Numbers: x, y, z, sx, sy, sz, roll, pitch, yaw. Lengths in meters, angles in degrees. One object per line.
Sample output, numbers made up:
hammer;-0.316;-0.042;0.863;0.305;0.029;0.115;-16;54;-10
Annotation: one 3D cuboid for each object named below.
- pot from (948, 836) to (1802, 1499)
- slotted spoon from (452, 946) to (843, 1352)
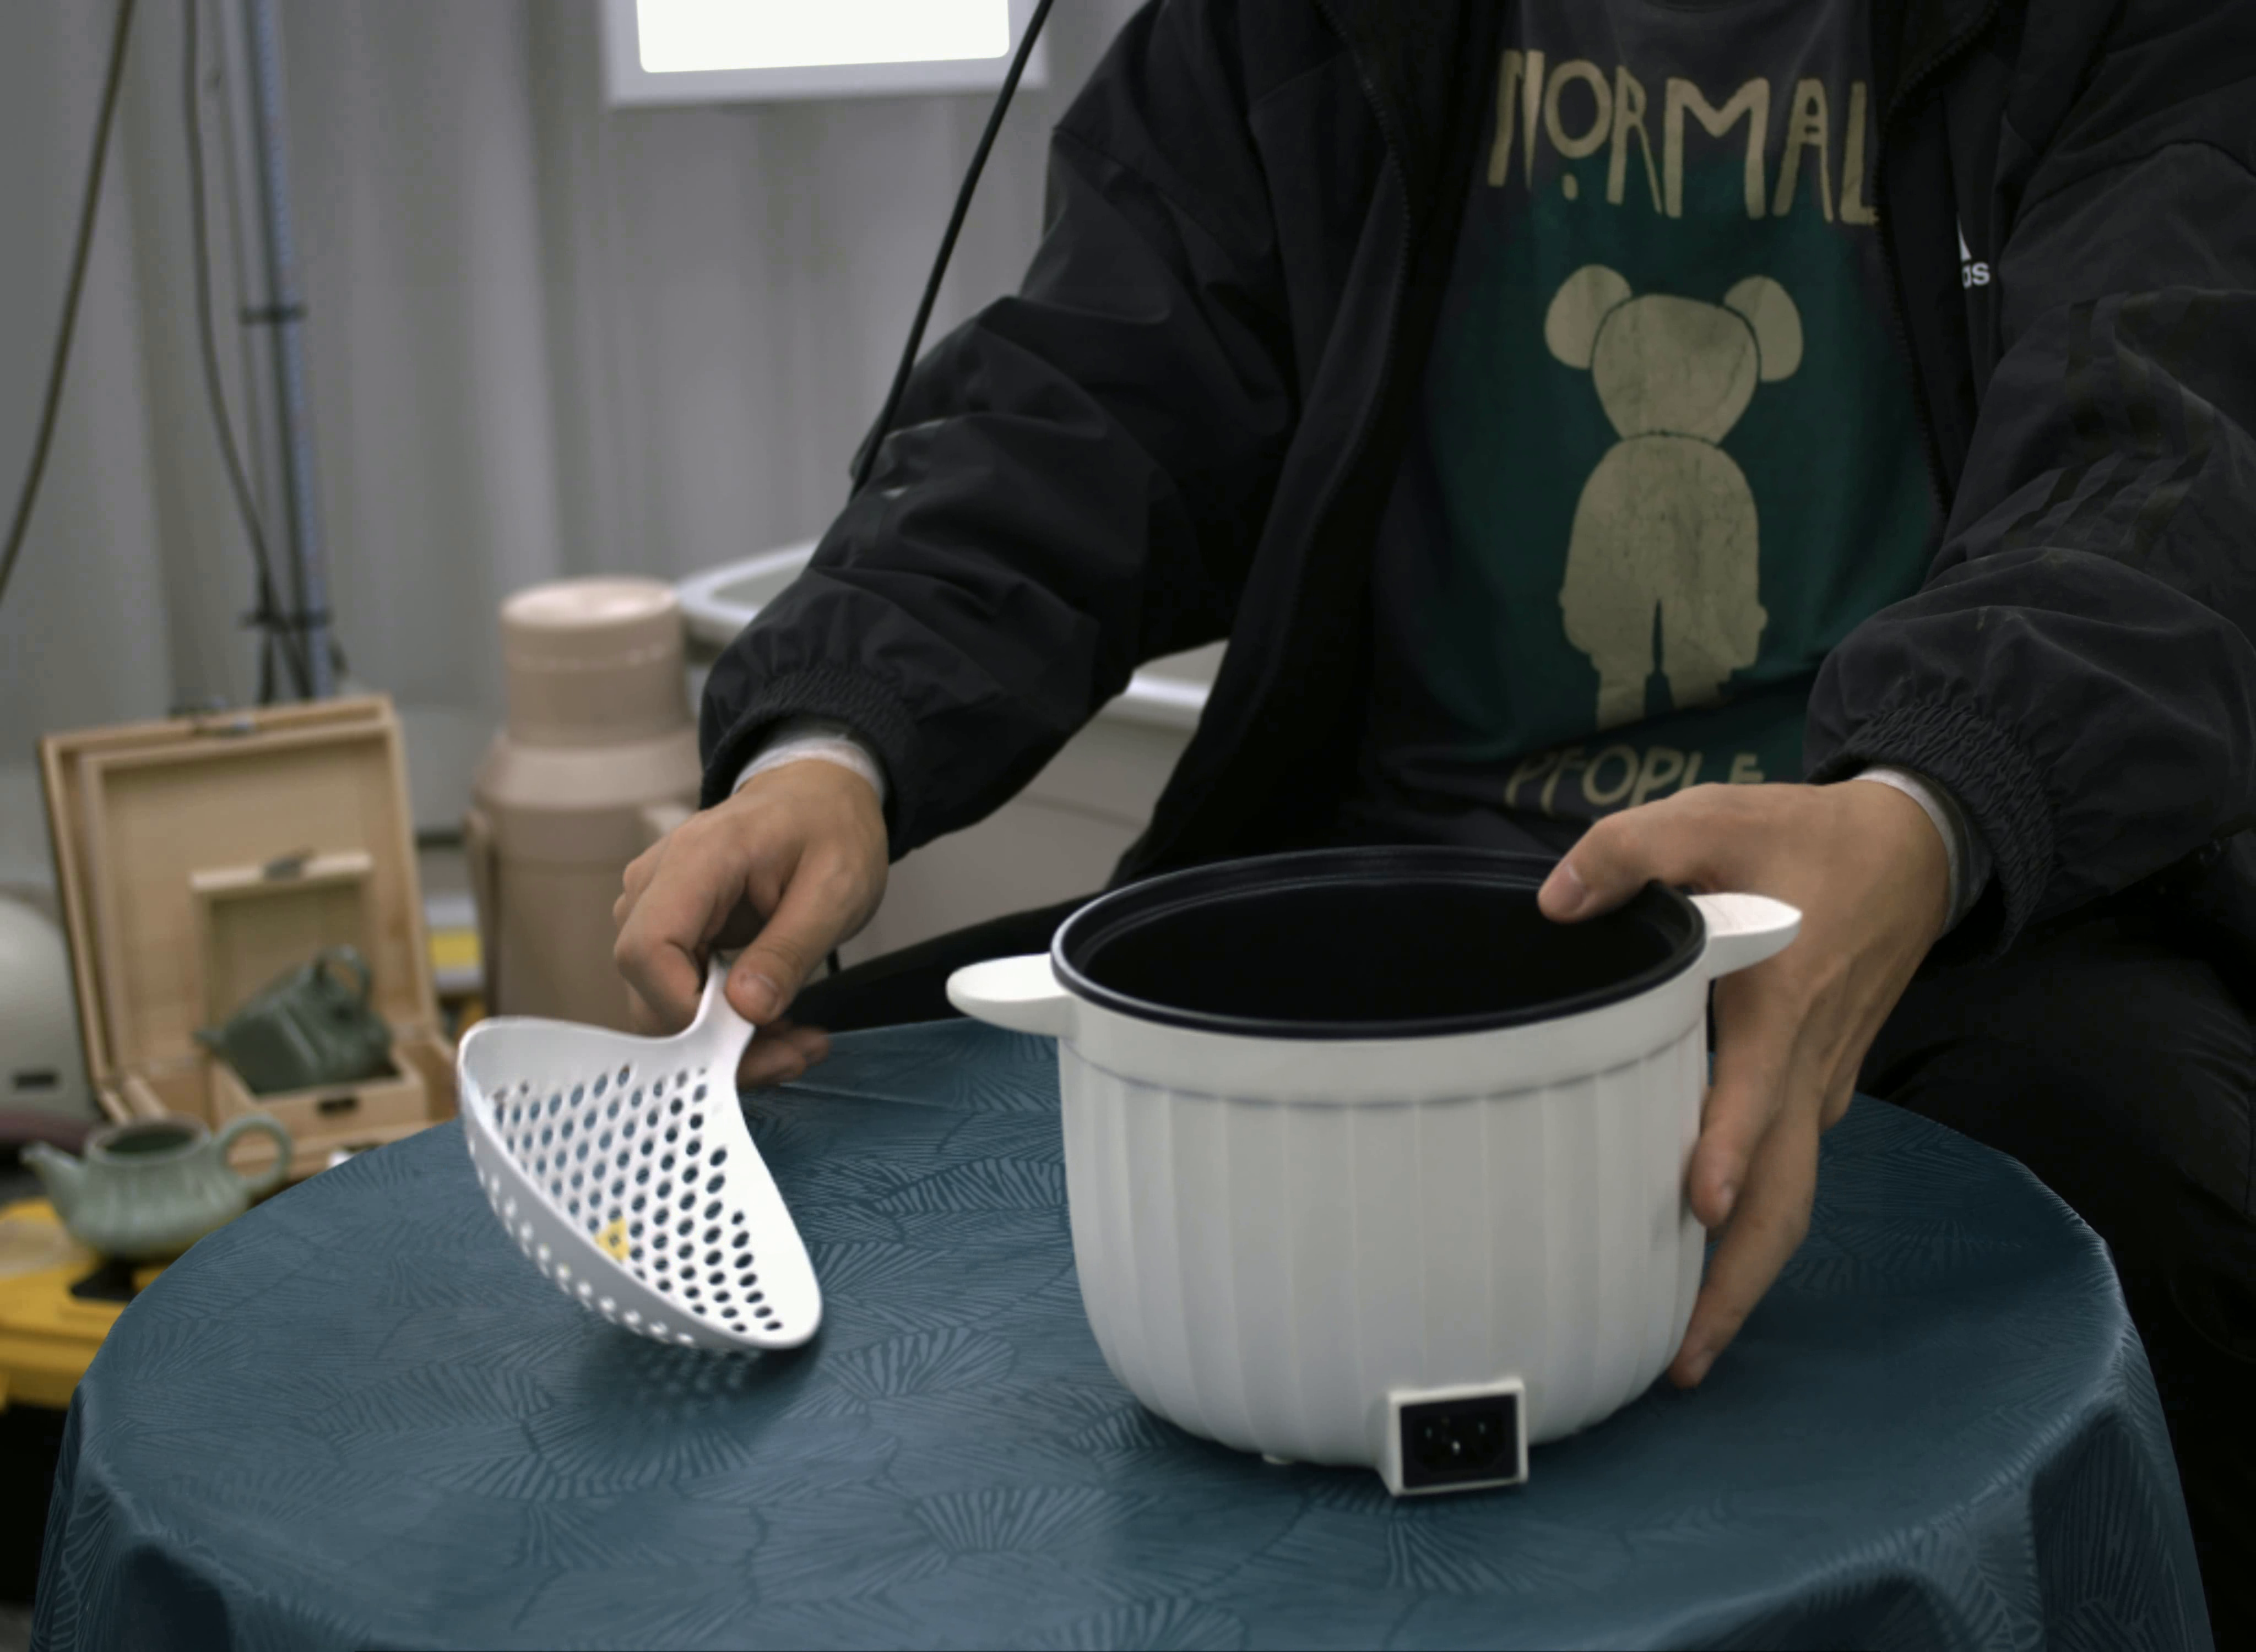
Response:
pot;0.069;0.091;1.521;0.239;0.142;0.192;-4;18;-9
slotted spoon;-0.141;0.085;1.703;0.136;0.050;0.350;35;17;-6
